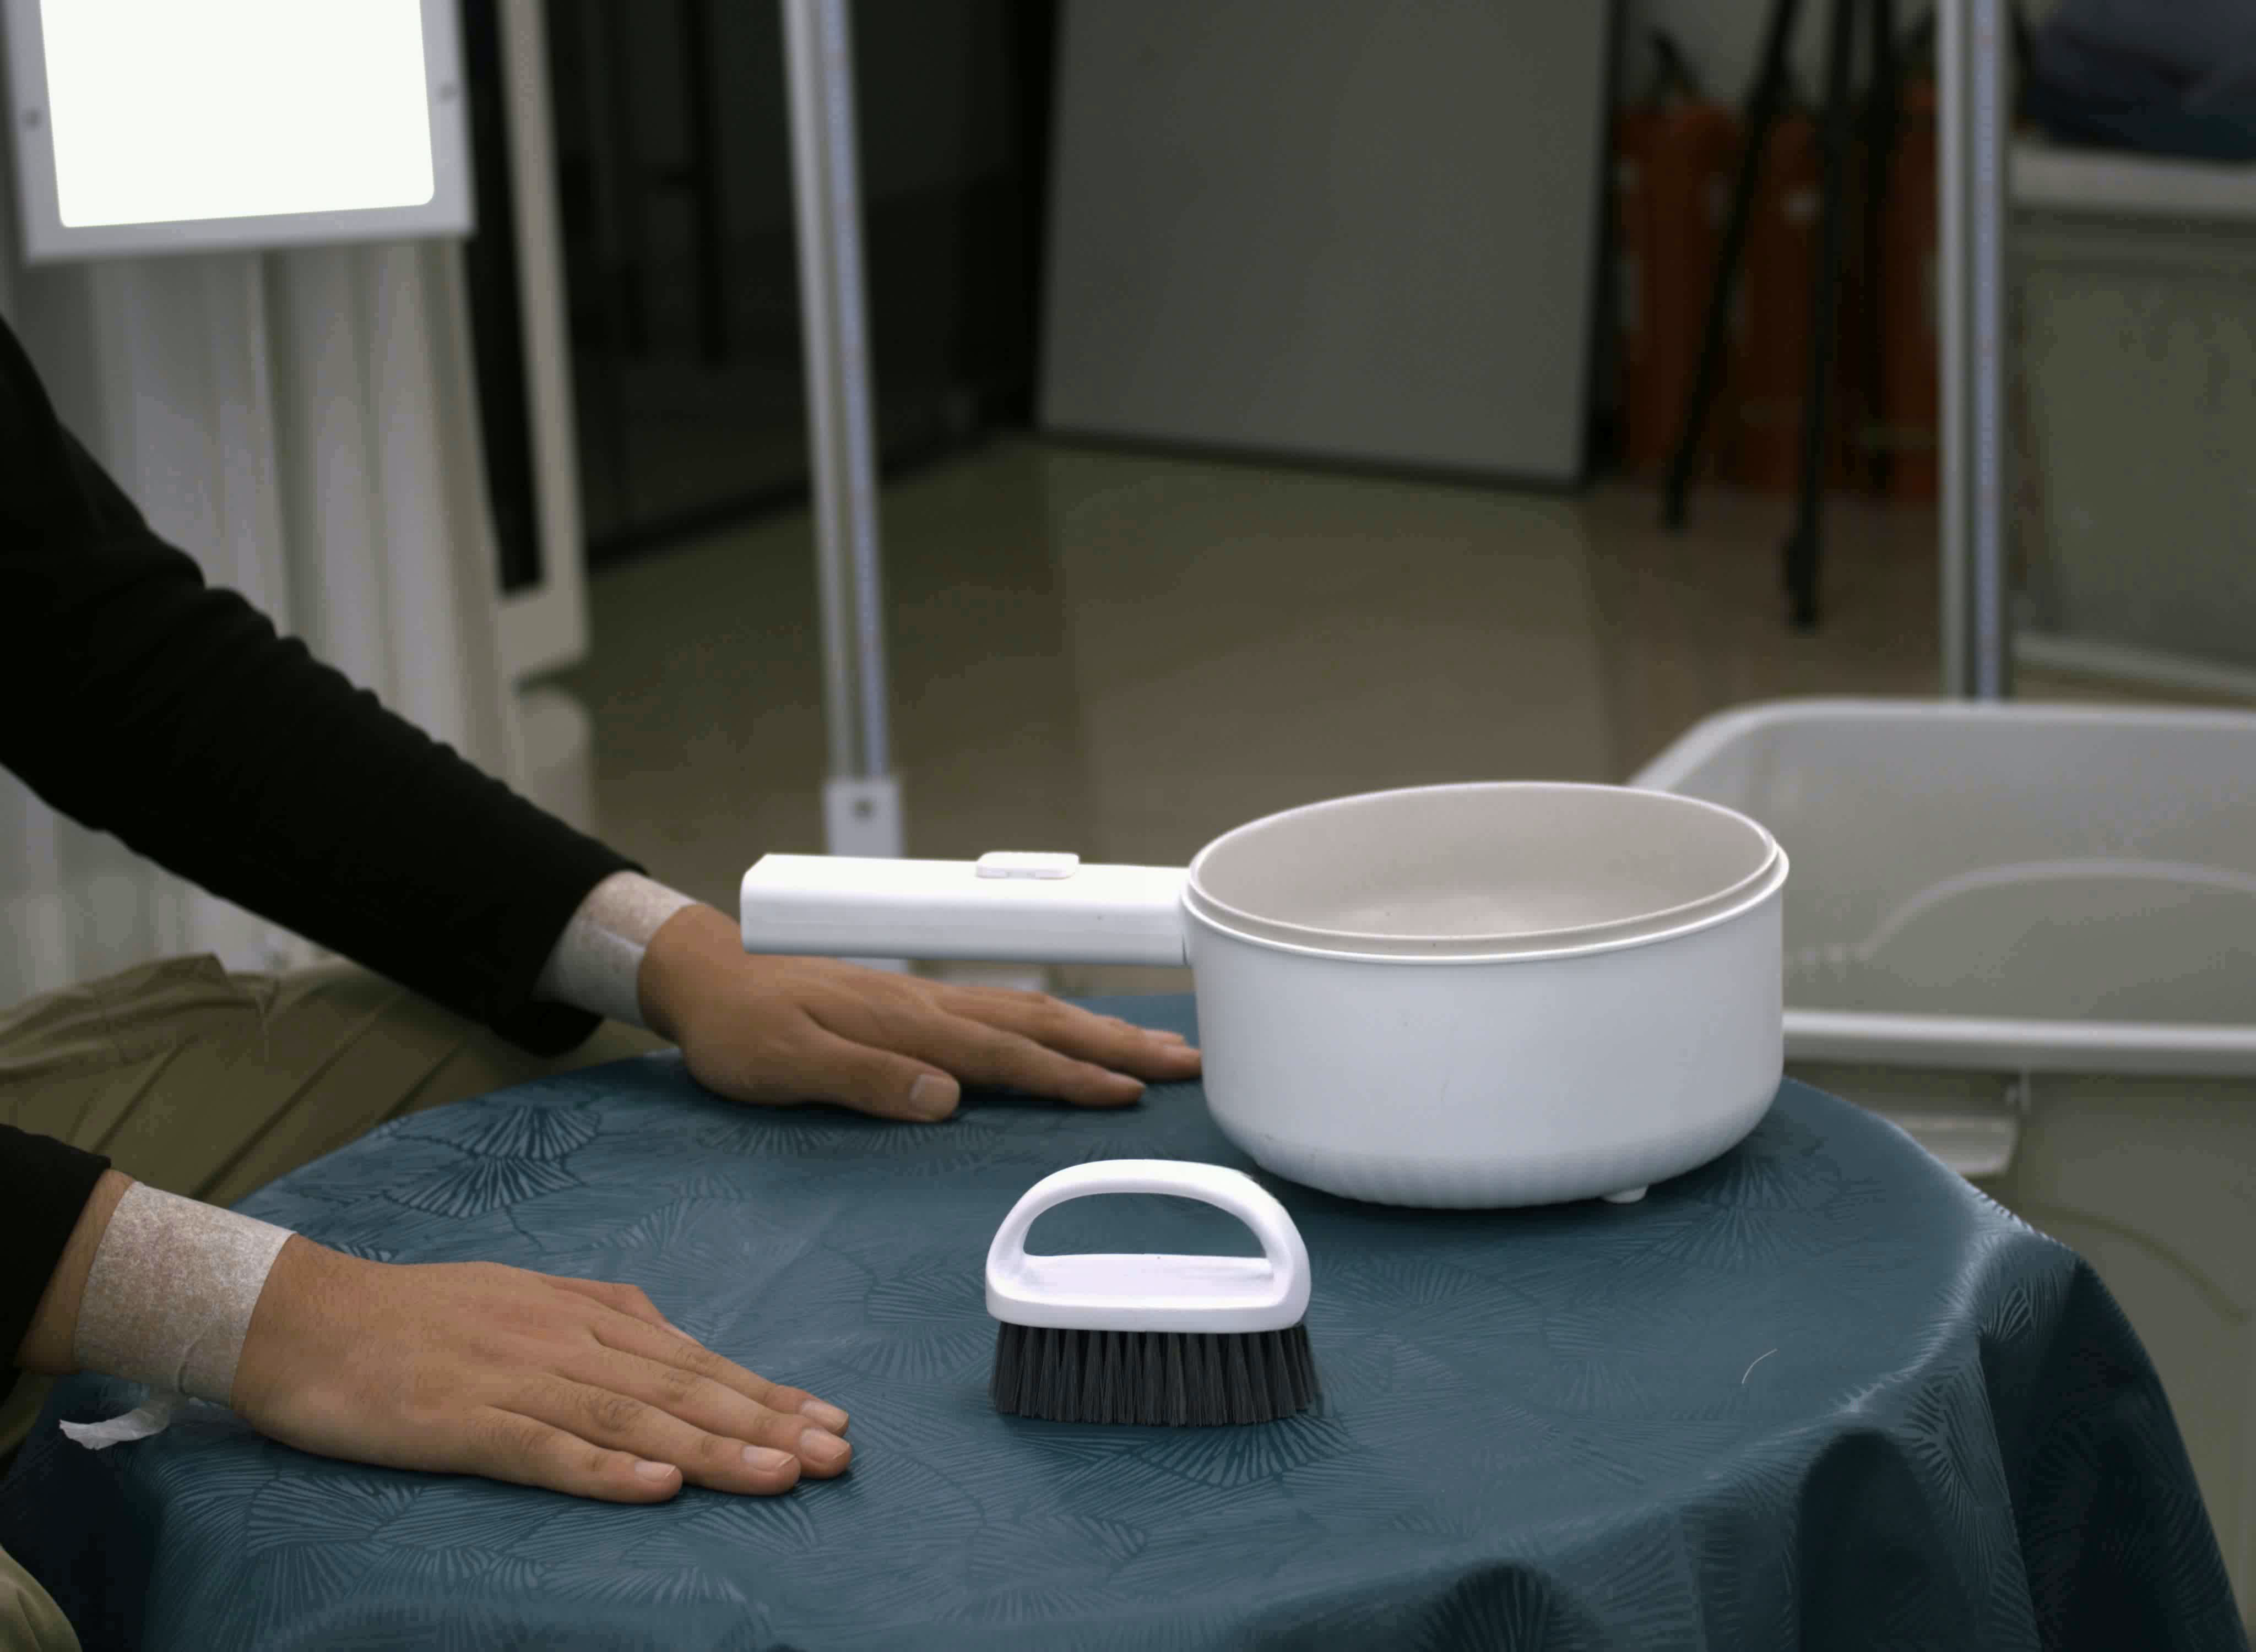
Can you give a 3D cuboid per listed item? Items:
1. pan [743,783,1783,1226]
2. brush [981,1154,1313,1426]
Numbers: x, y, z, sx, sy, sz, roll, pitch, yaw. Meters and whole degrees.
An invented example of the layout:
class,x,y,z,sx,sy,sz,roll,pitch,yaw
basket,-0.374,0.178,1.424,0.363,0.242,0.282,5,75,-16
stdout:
class,x,y,z,sx,sy,sz,roll,pitch,yaw
pan,0.045,0.062,1.801,0.353,0.103,0.200,-1,16,16
brush,0.004,0.132,1.570,0.099,0.073,0.050,0,14,17
